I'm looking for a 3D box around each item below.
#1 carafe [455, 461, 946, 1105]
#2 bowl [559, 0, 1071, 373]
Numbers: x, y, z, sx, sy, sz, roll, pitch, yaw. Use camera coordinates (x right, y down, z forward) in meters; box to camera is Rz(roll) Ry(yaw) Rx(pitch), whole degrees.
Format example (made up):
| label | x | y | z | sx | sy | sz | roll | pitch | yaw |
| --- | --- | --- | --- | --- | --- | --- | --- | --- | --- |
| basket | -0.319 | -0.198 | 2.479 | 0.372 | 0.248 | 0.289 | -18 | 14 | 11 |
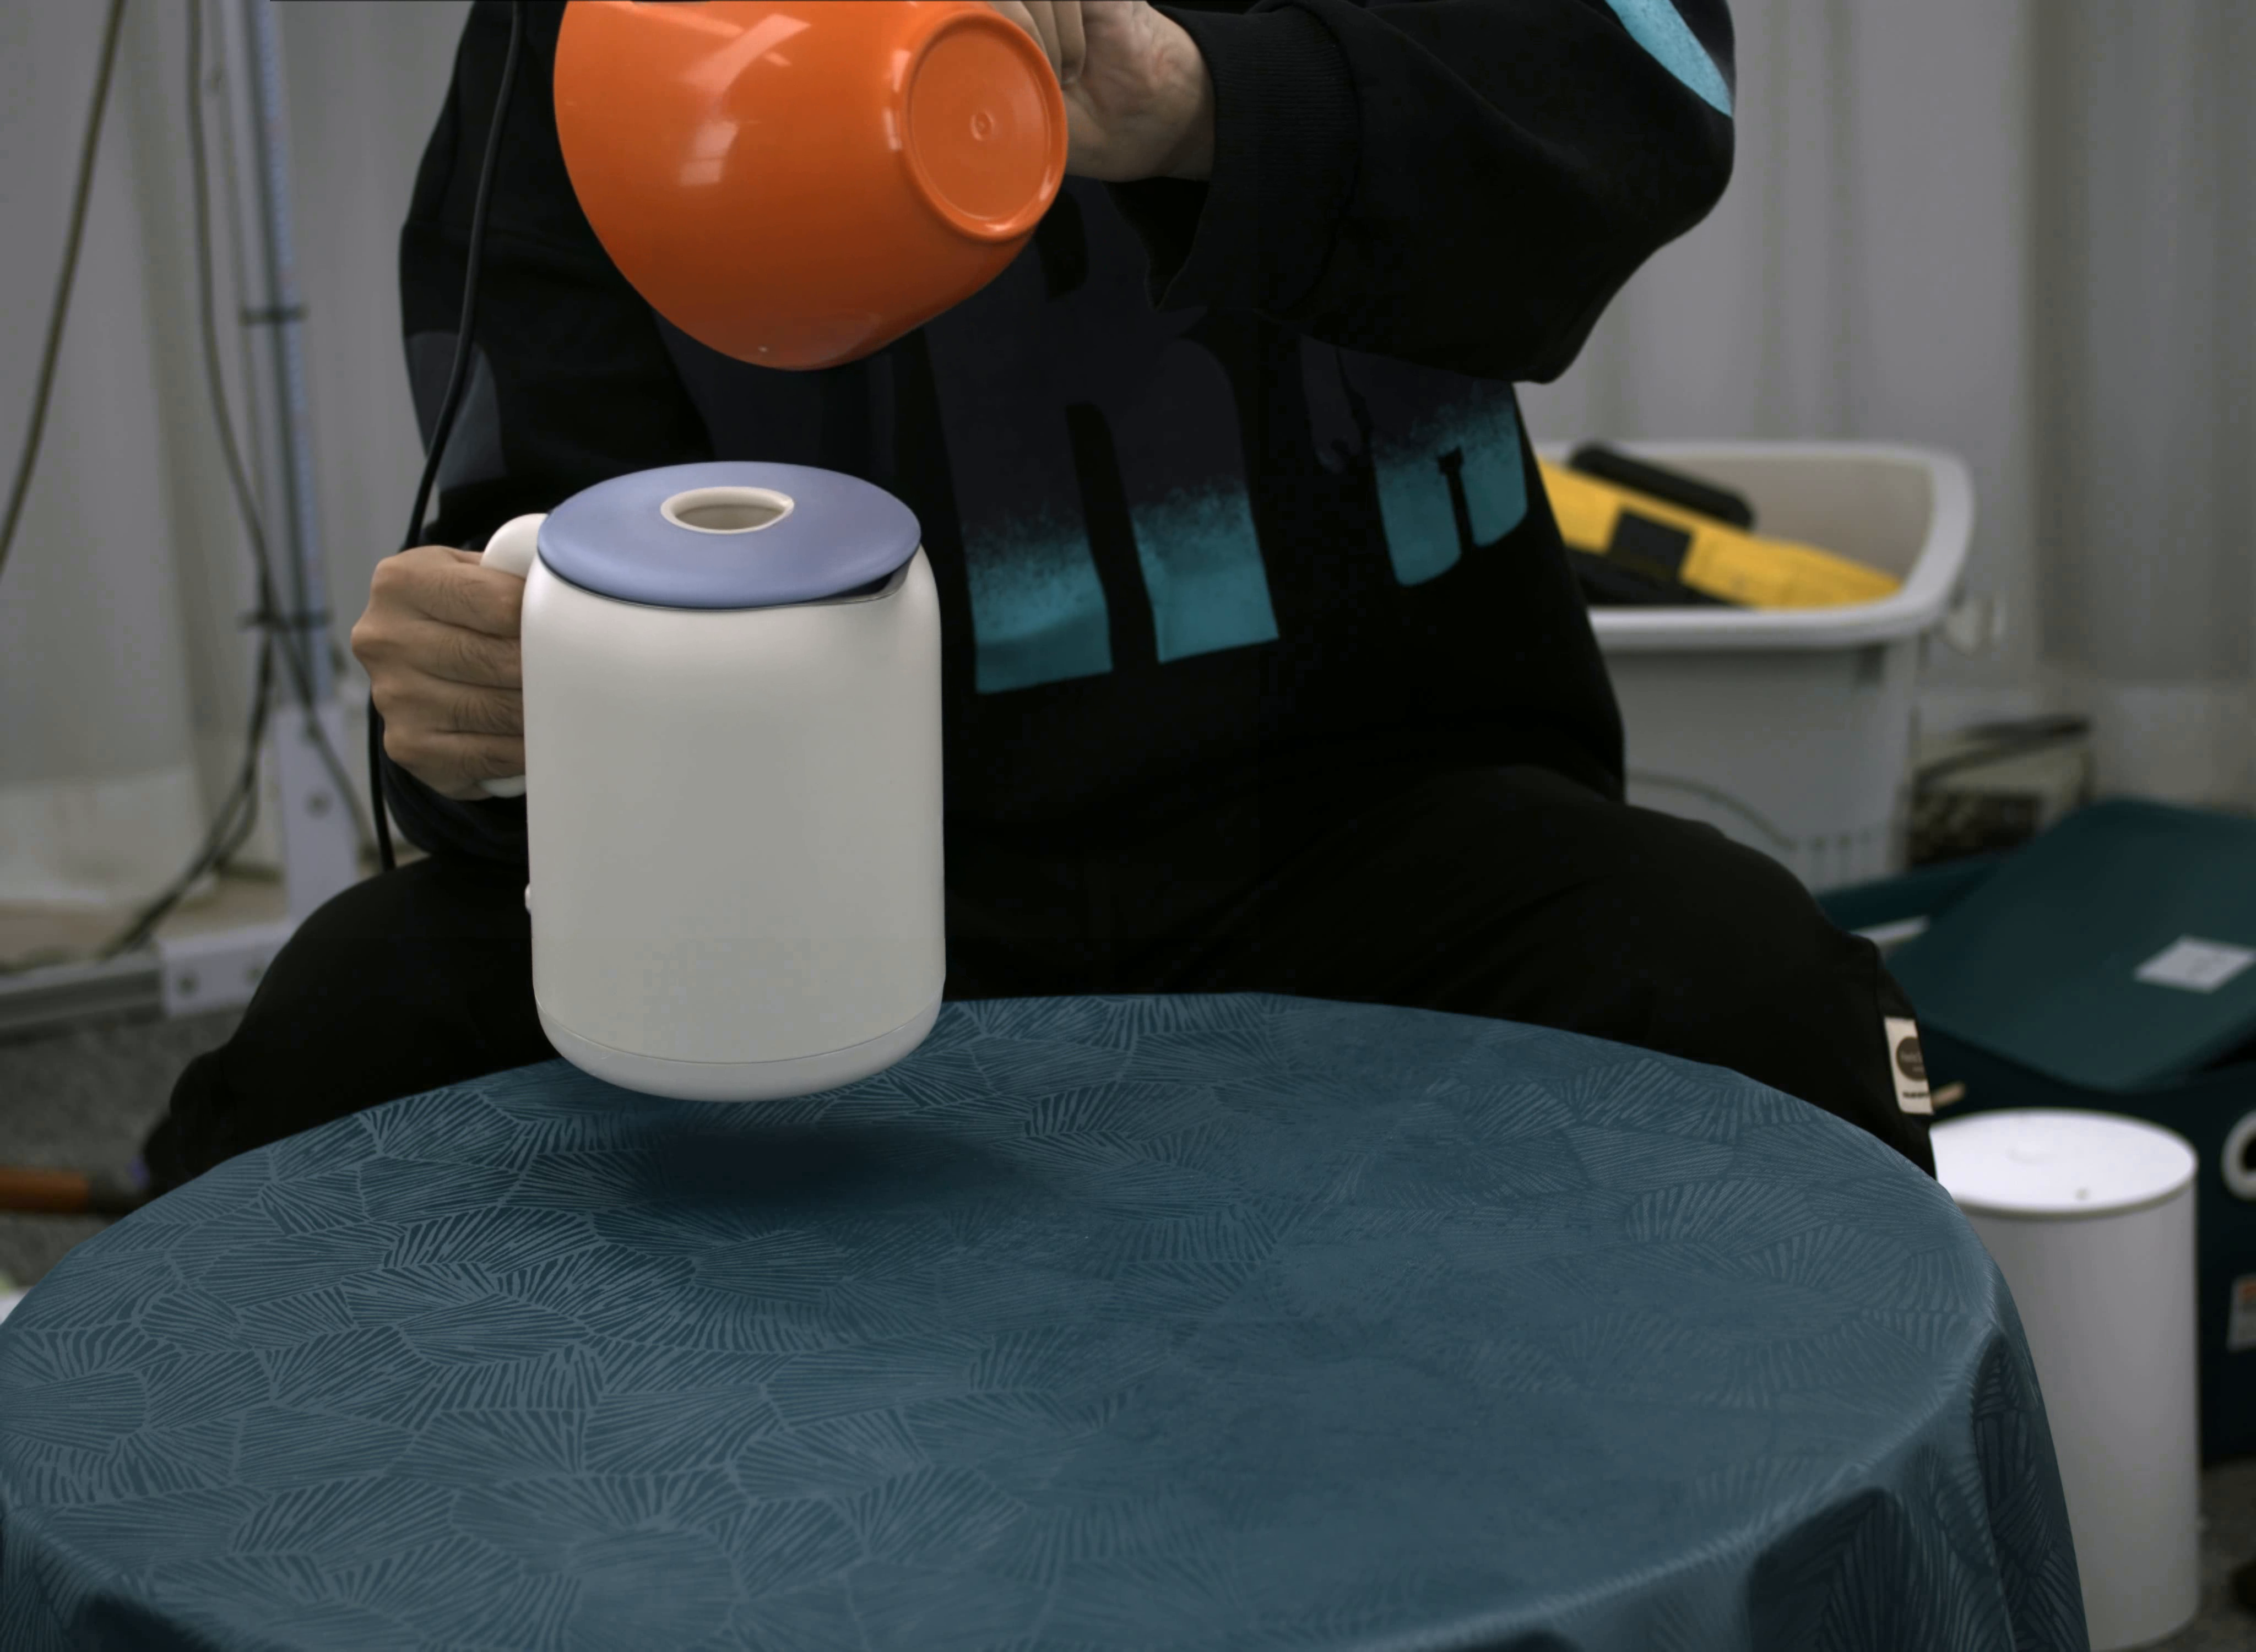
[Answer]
| label | x | y | z | sx | sy | sz | roll | pitch | yaw |
| --- | --- | --- | --- | --- | --- | --- | --- | --- | --- |
| carafe | -0.142 | -0.020 | 1.732 | 0.192 | 0.181 | 0.132 | 15 | 25 | 38 |
| bowl | -0.080 | -0.209 | 1.615 | 0.105 | 0.148 | 0.148 | -3 | 10 | 45 |
